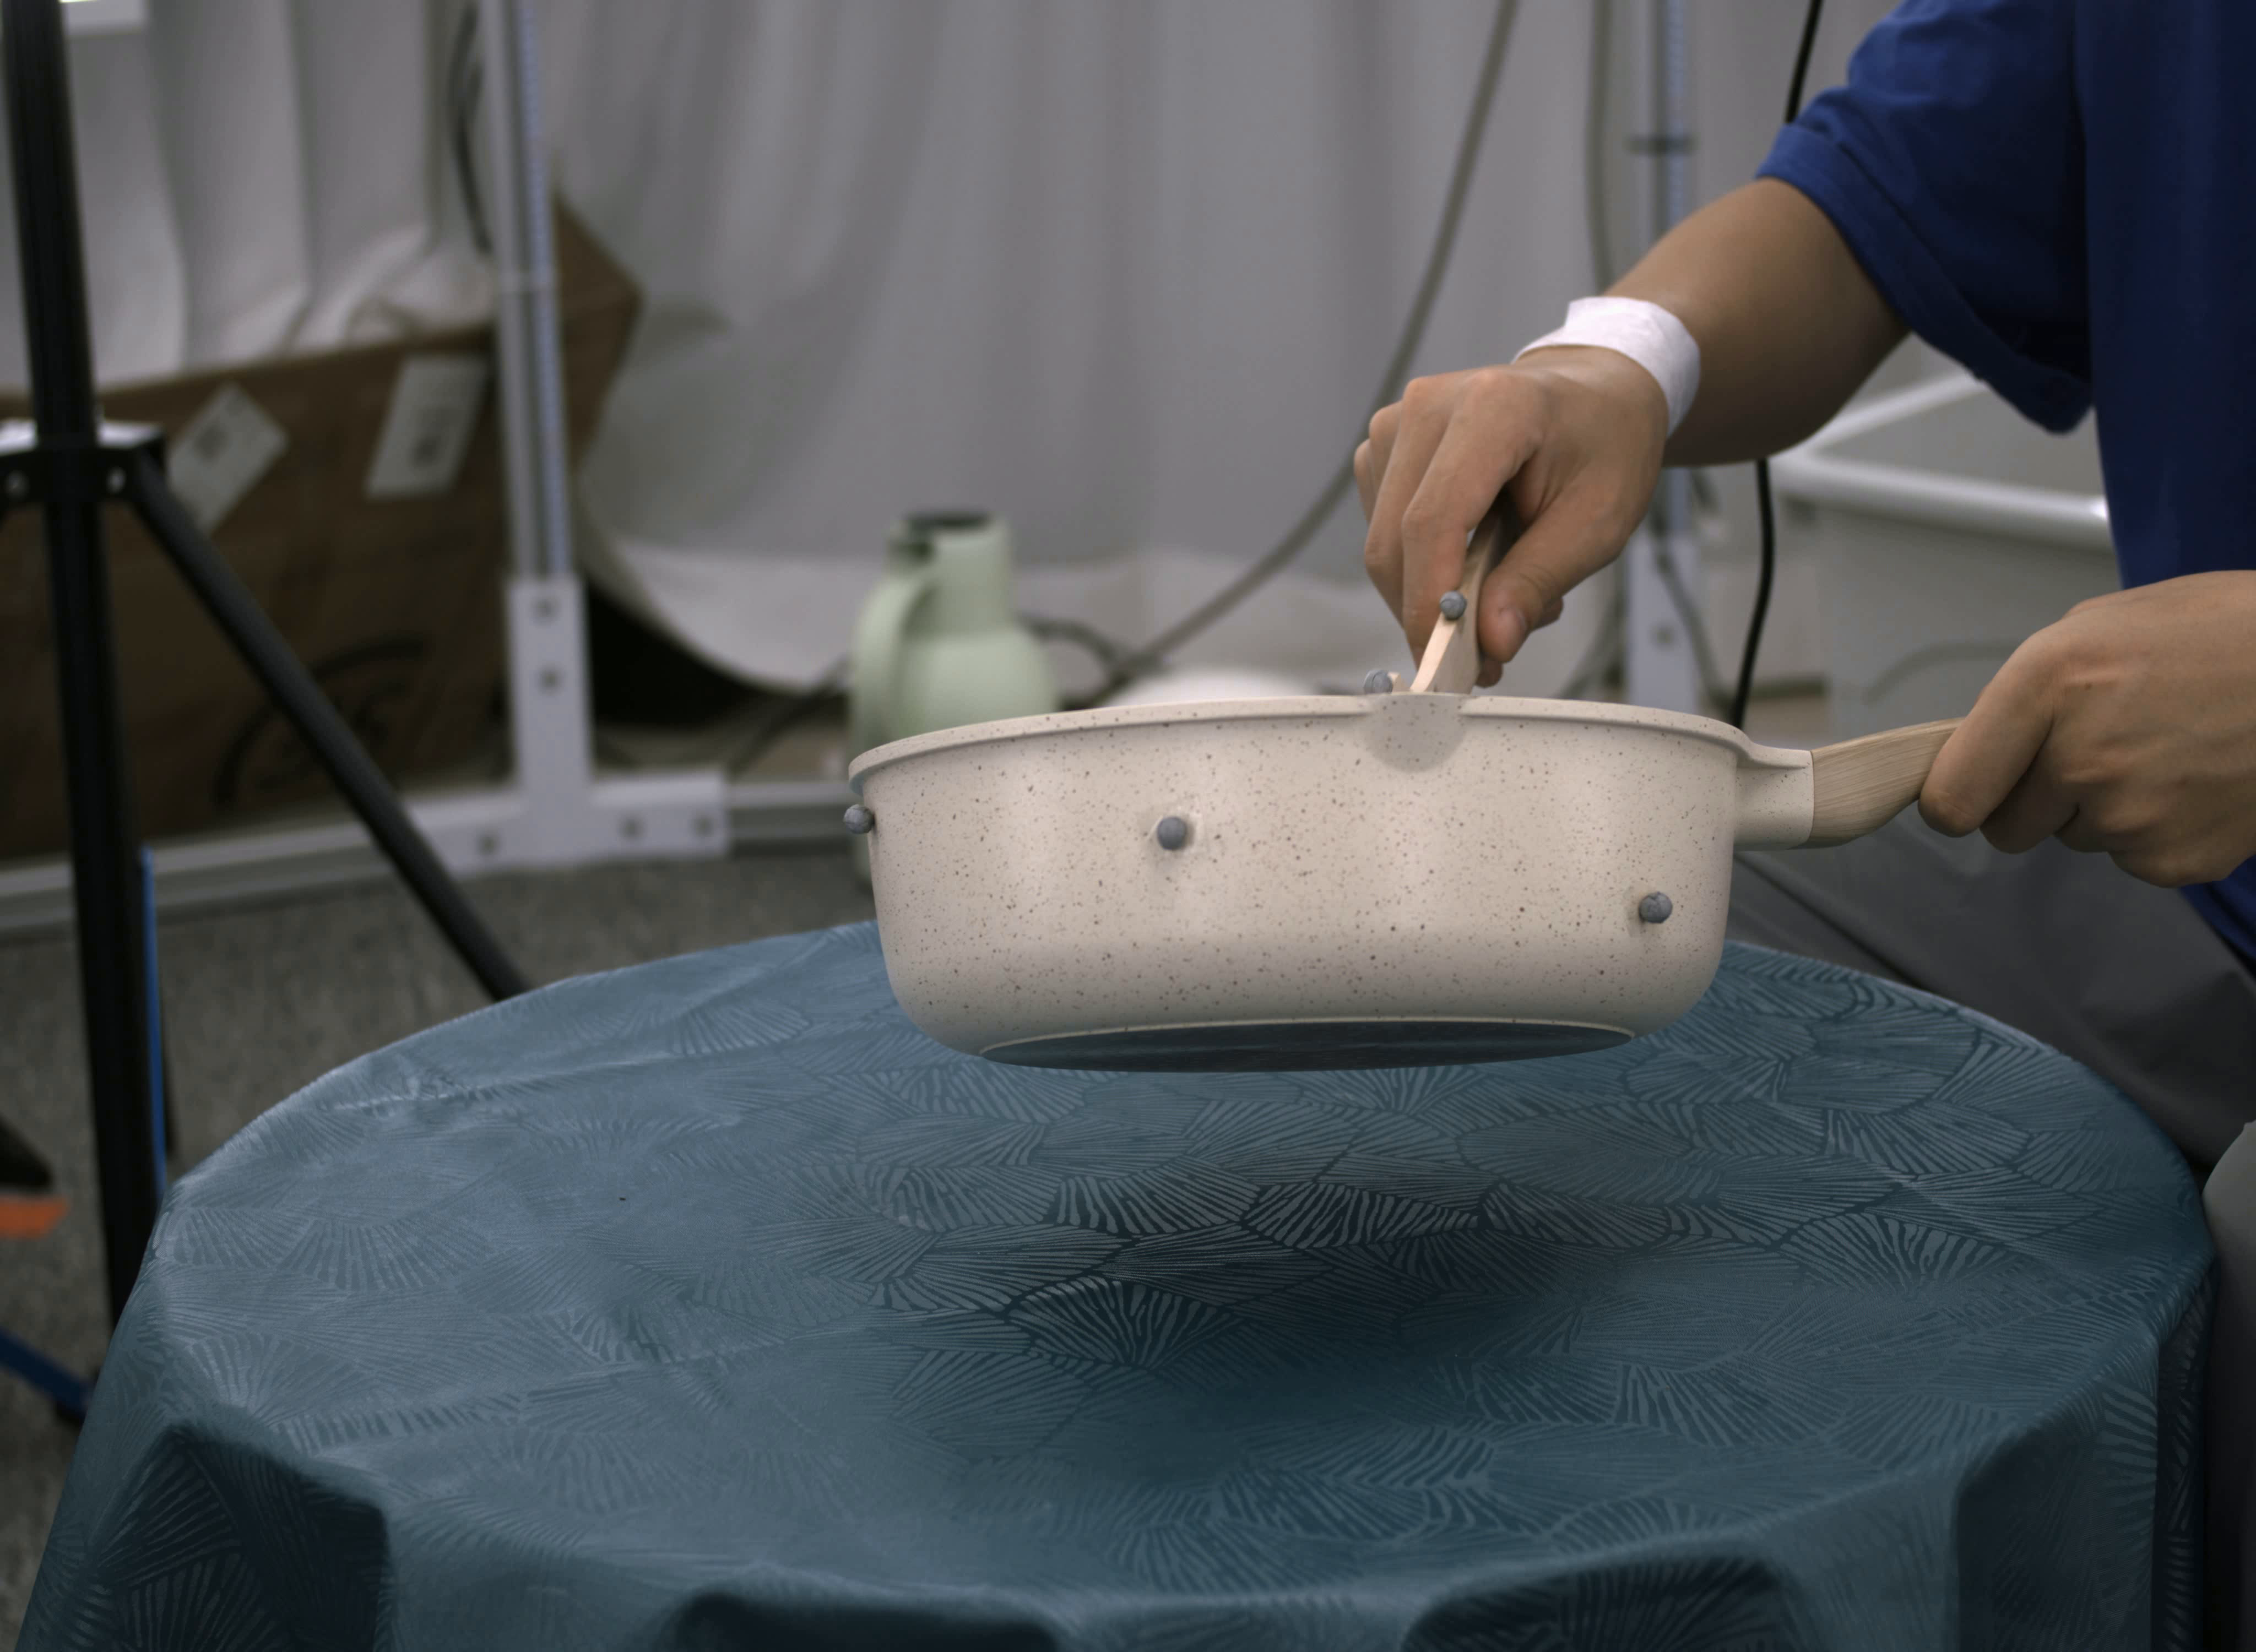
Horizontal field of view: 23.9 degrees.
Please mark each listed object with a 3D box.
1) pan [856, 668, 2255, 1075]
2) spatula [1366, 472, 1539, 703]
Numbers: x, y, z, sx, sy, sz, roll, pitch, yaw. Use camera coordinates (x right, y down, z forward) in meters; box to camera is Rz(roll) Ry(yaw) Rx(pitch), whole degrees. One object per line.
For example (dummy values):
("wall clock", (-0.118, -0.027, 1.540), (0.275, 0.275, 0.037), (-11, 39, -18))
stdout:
("pan", (0.139, 0.012, 1.485), (0.428, 0.103, 0.265), (1, -9, -12))
("spatula", (0.095, -0.043, 1.581), (0.011, 0.072, 0.292), (-3, 24, 16))
